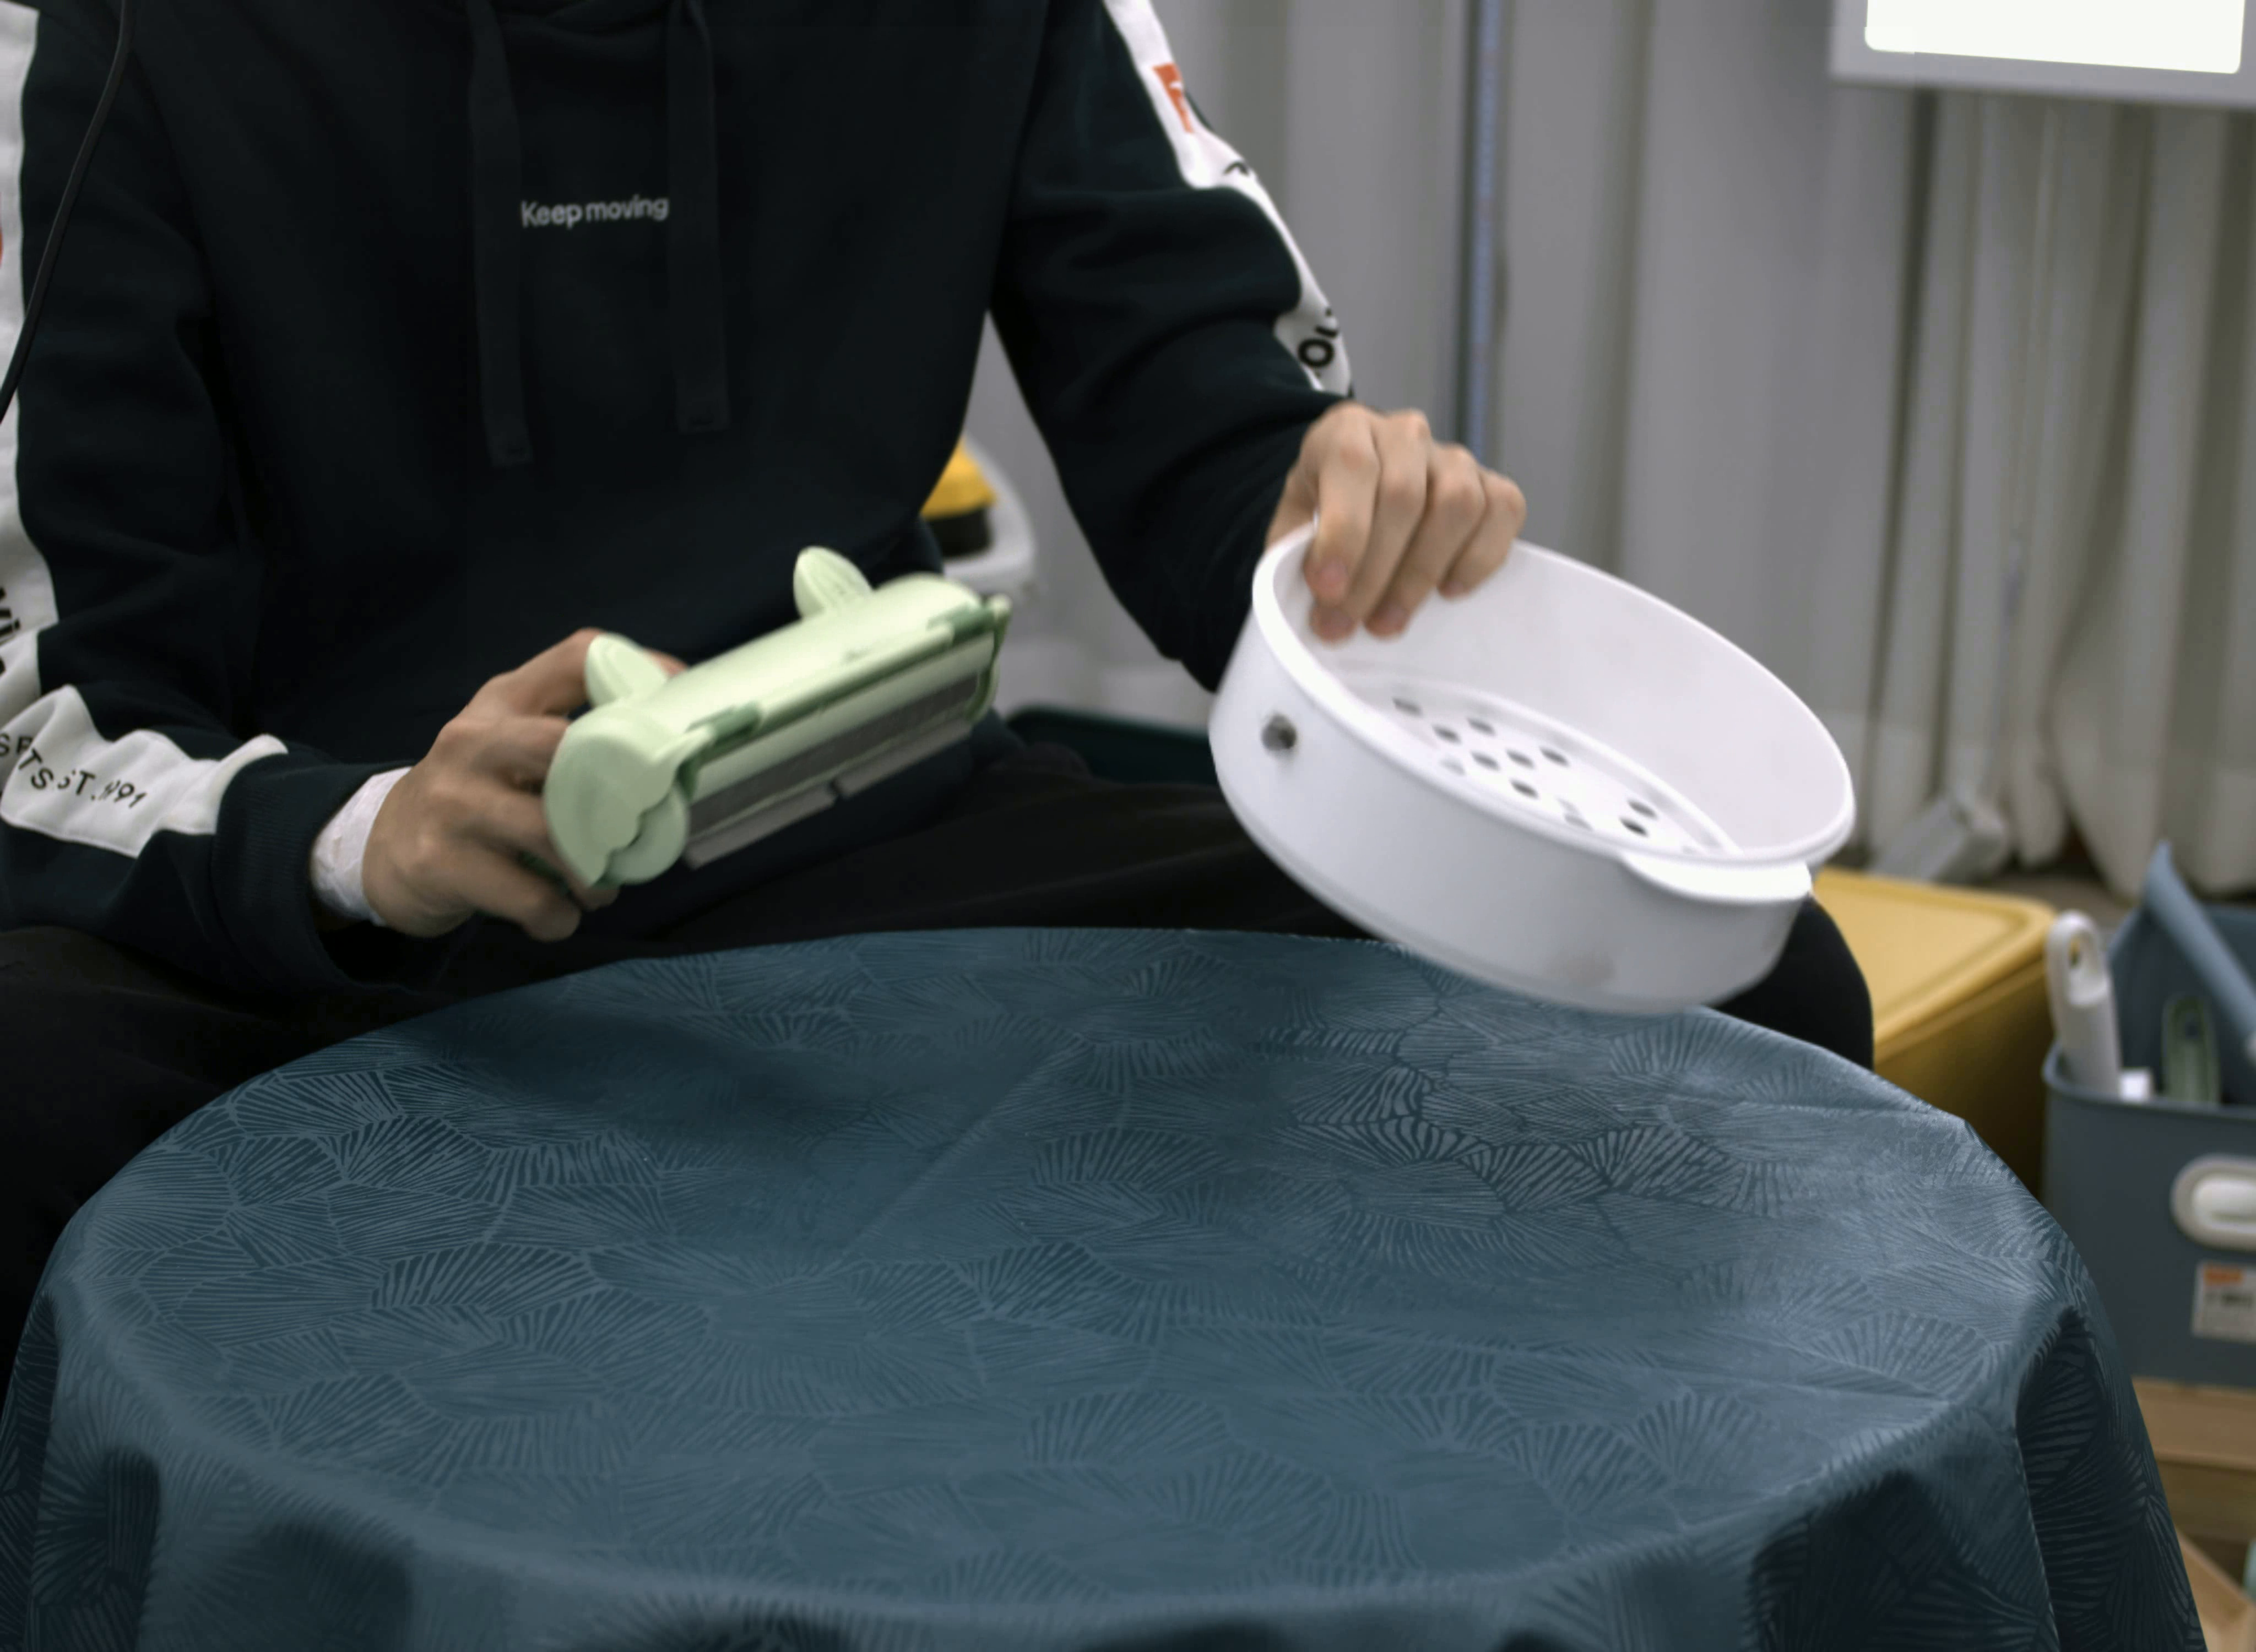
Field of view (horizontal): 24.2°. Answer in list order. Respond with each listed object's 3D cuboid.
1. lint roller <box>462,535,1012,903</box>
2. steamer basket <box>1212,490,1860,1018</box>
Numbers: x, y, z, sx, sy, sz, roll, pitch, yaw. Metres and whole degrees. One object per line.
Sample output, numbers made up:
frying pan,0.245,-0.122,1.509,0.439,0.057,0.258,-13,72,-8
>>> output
lint roller,-0.155,-0.031,1.692,0.182,0.082,0.199,-15,9,33
steamer basket,0.124,-0.020,1.640,0.203,0.069,0.227,4,33,-36
